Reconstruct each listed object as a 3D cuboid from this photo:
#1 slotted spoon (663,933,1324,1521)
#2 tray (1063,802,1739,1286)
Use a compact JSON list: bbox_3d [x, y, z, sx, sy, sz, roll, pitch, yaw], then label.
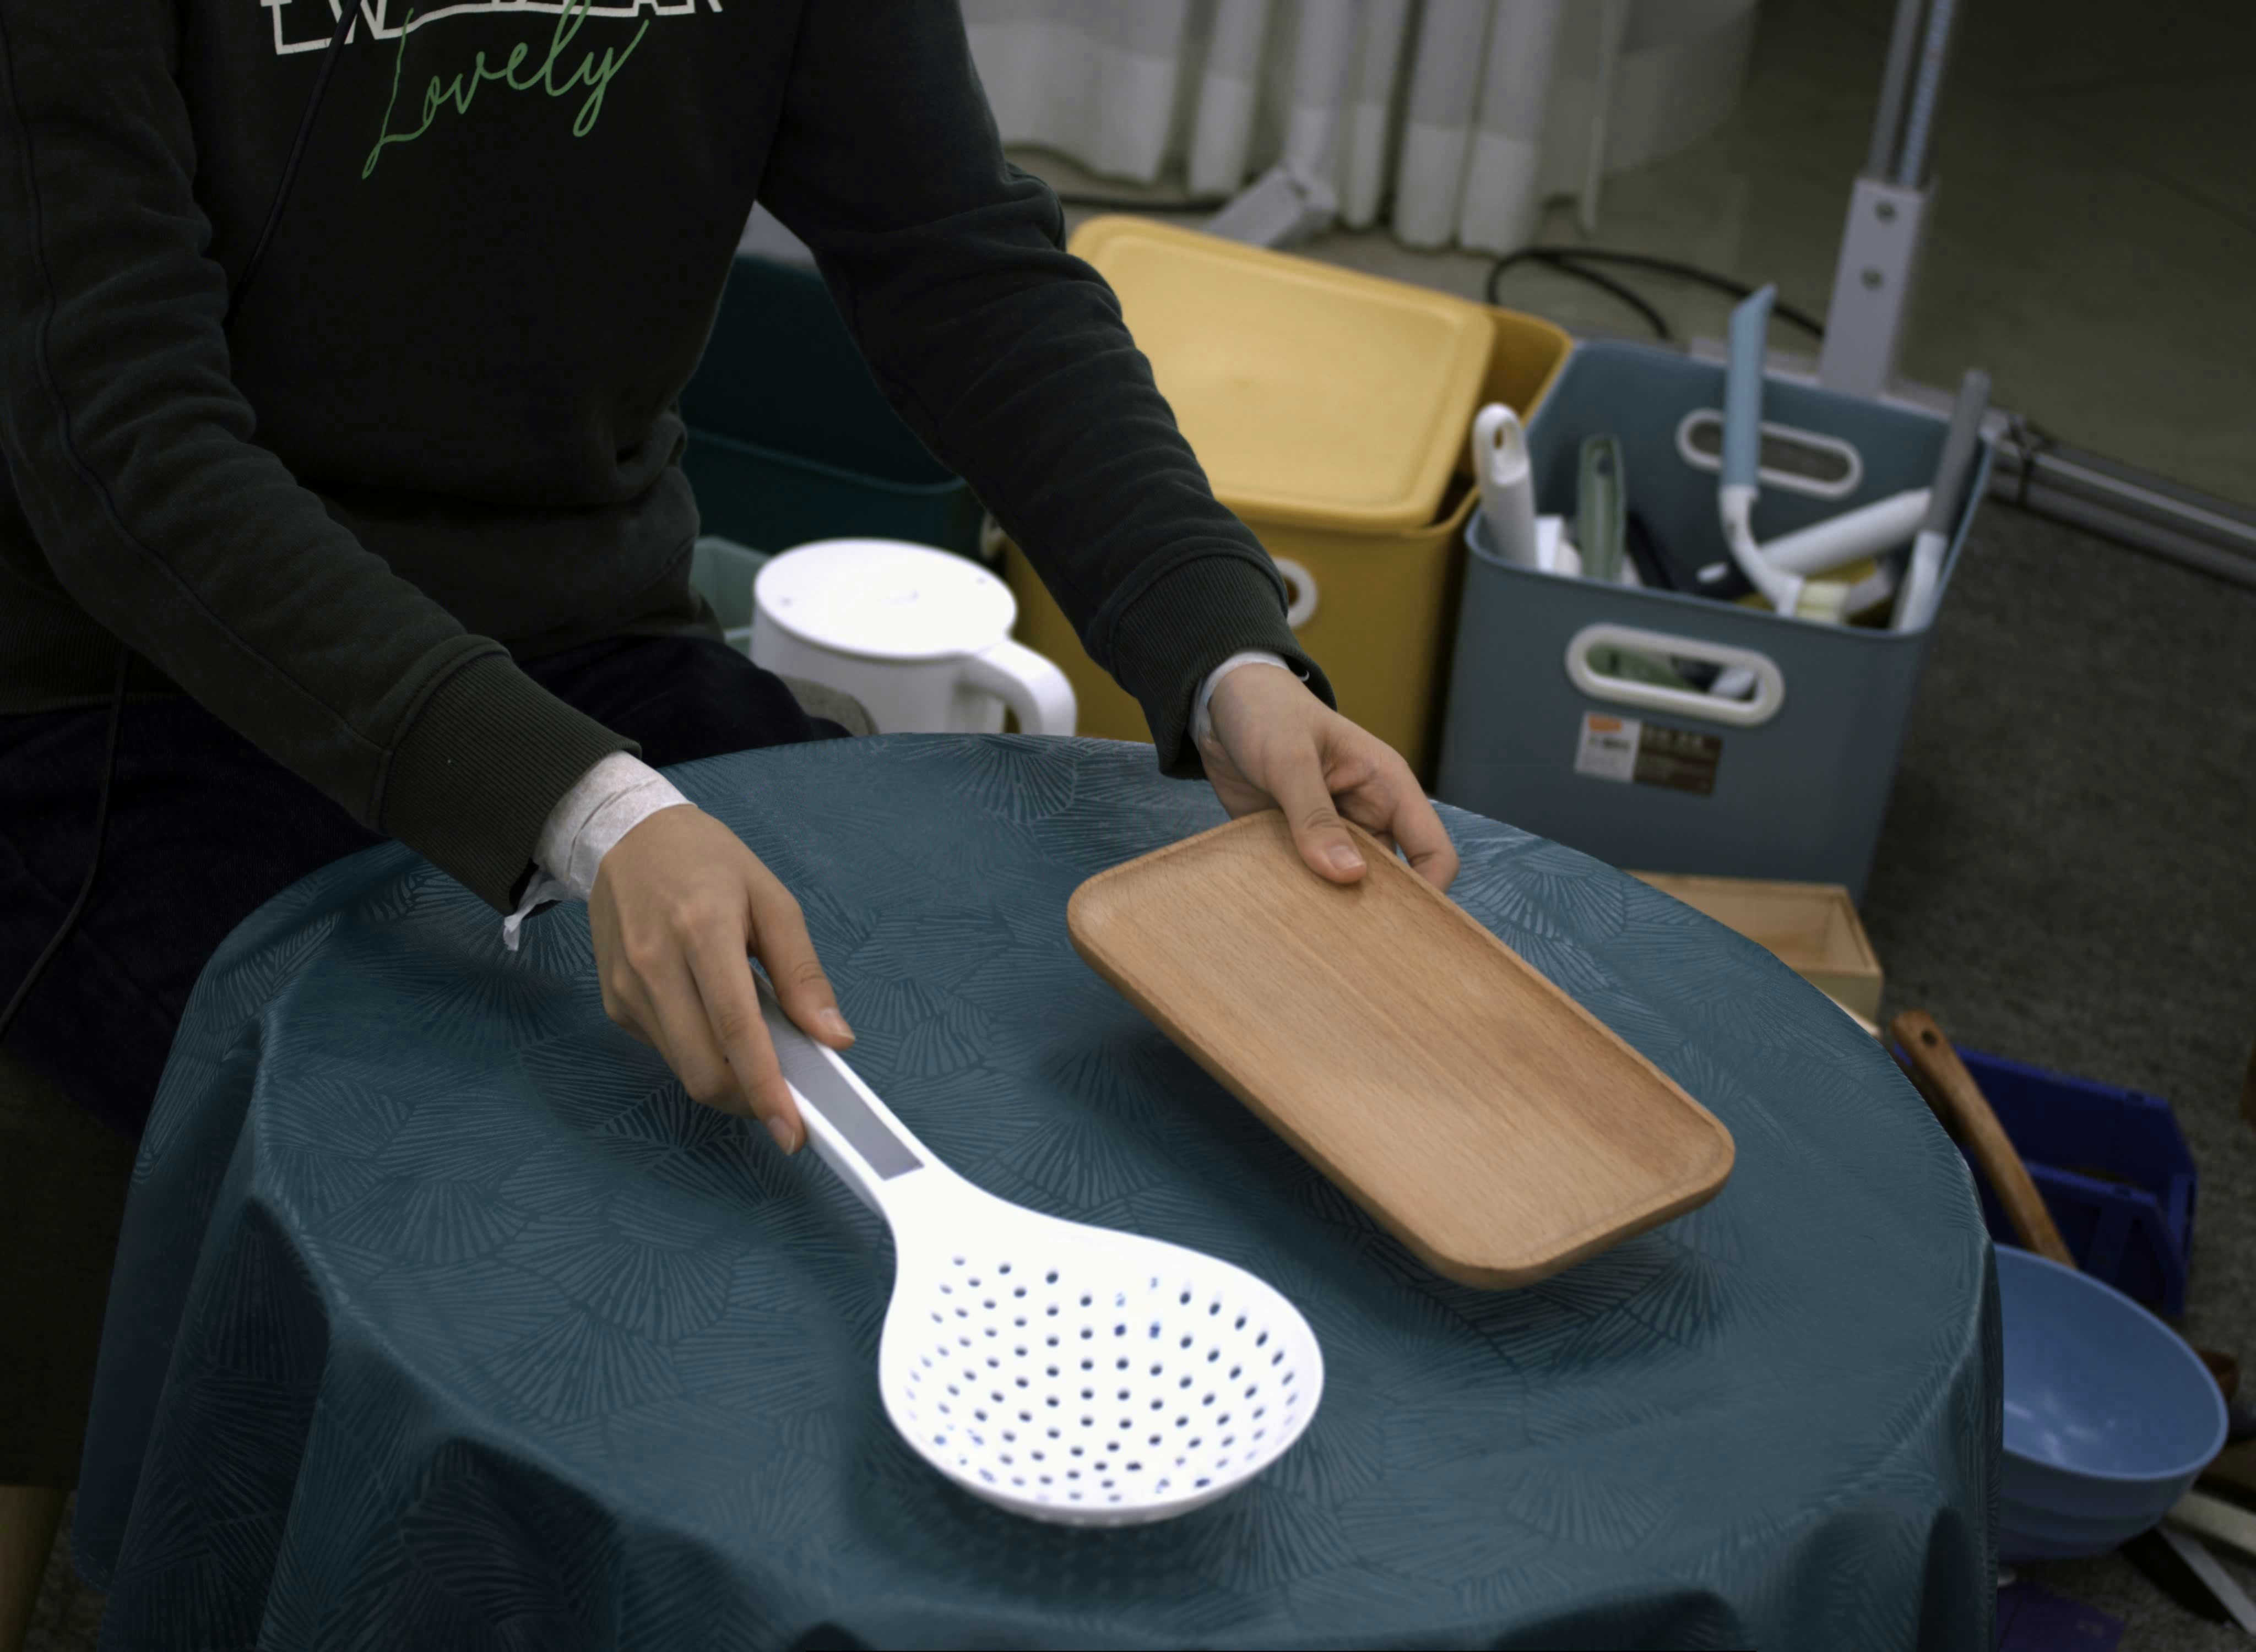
[{"bbox_3d":[-0.063,0.122,1.708,0.135,0.045,0.353,-16,39,-26],"label":"slotted spoon"},{"bbox_3d":[0.090,0.072,1.827,0.130,0.023,0.253,-19,40,-31],"label":"tray"}]
